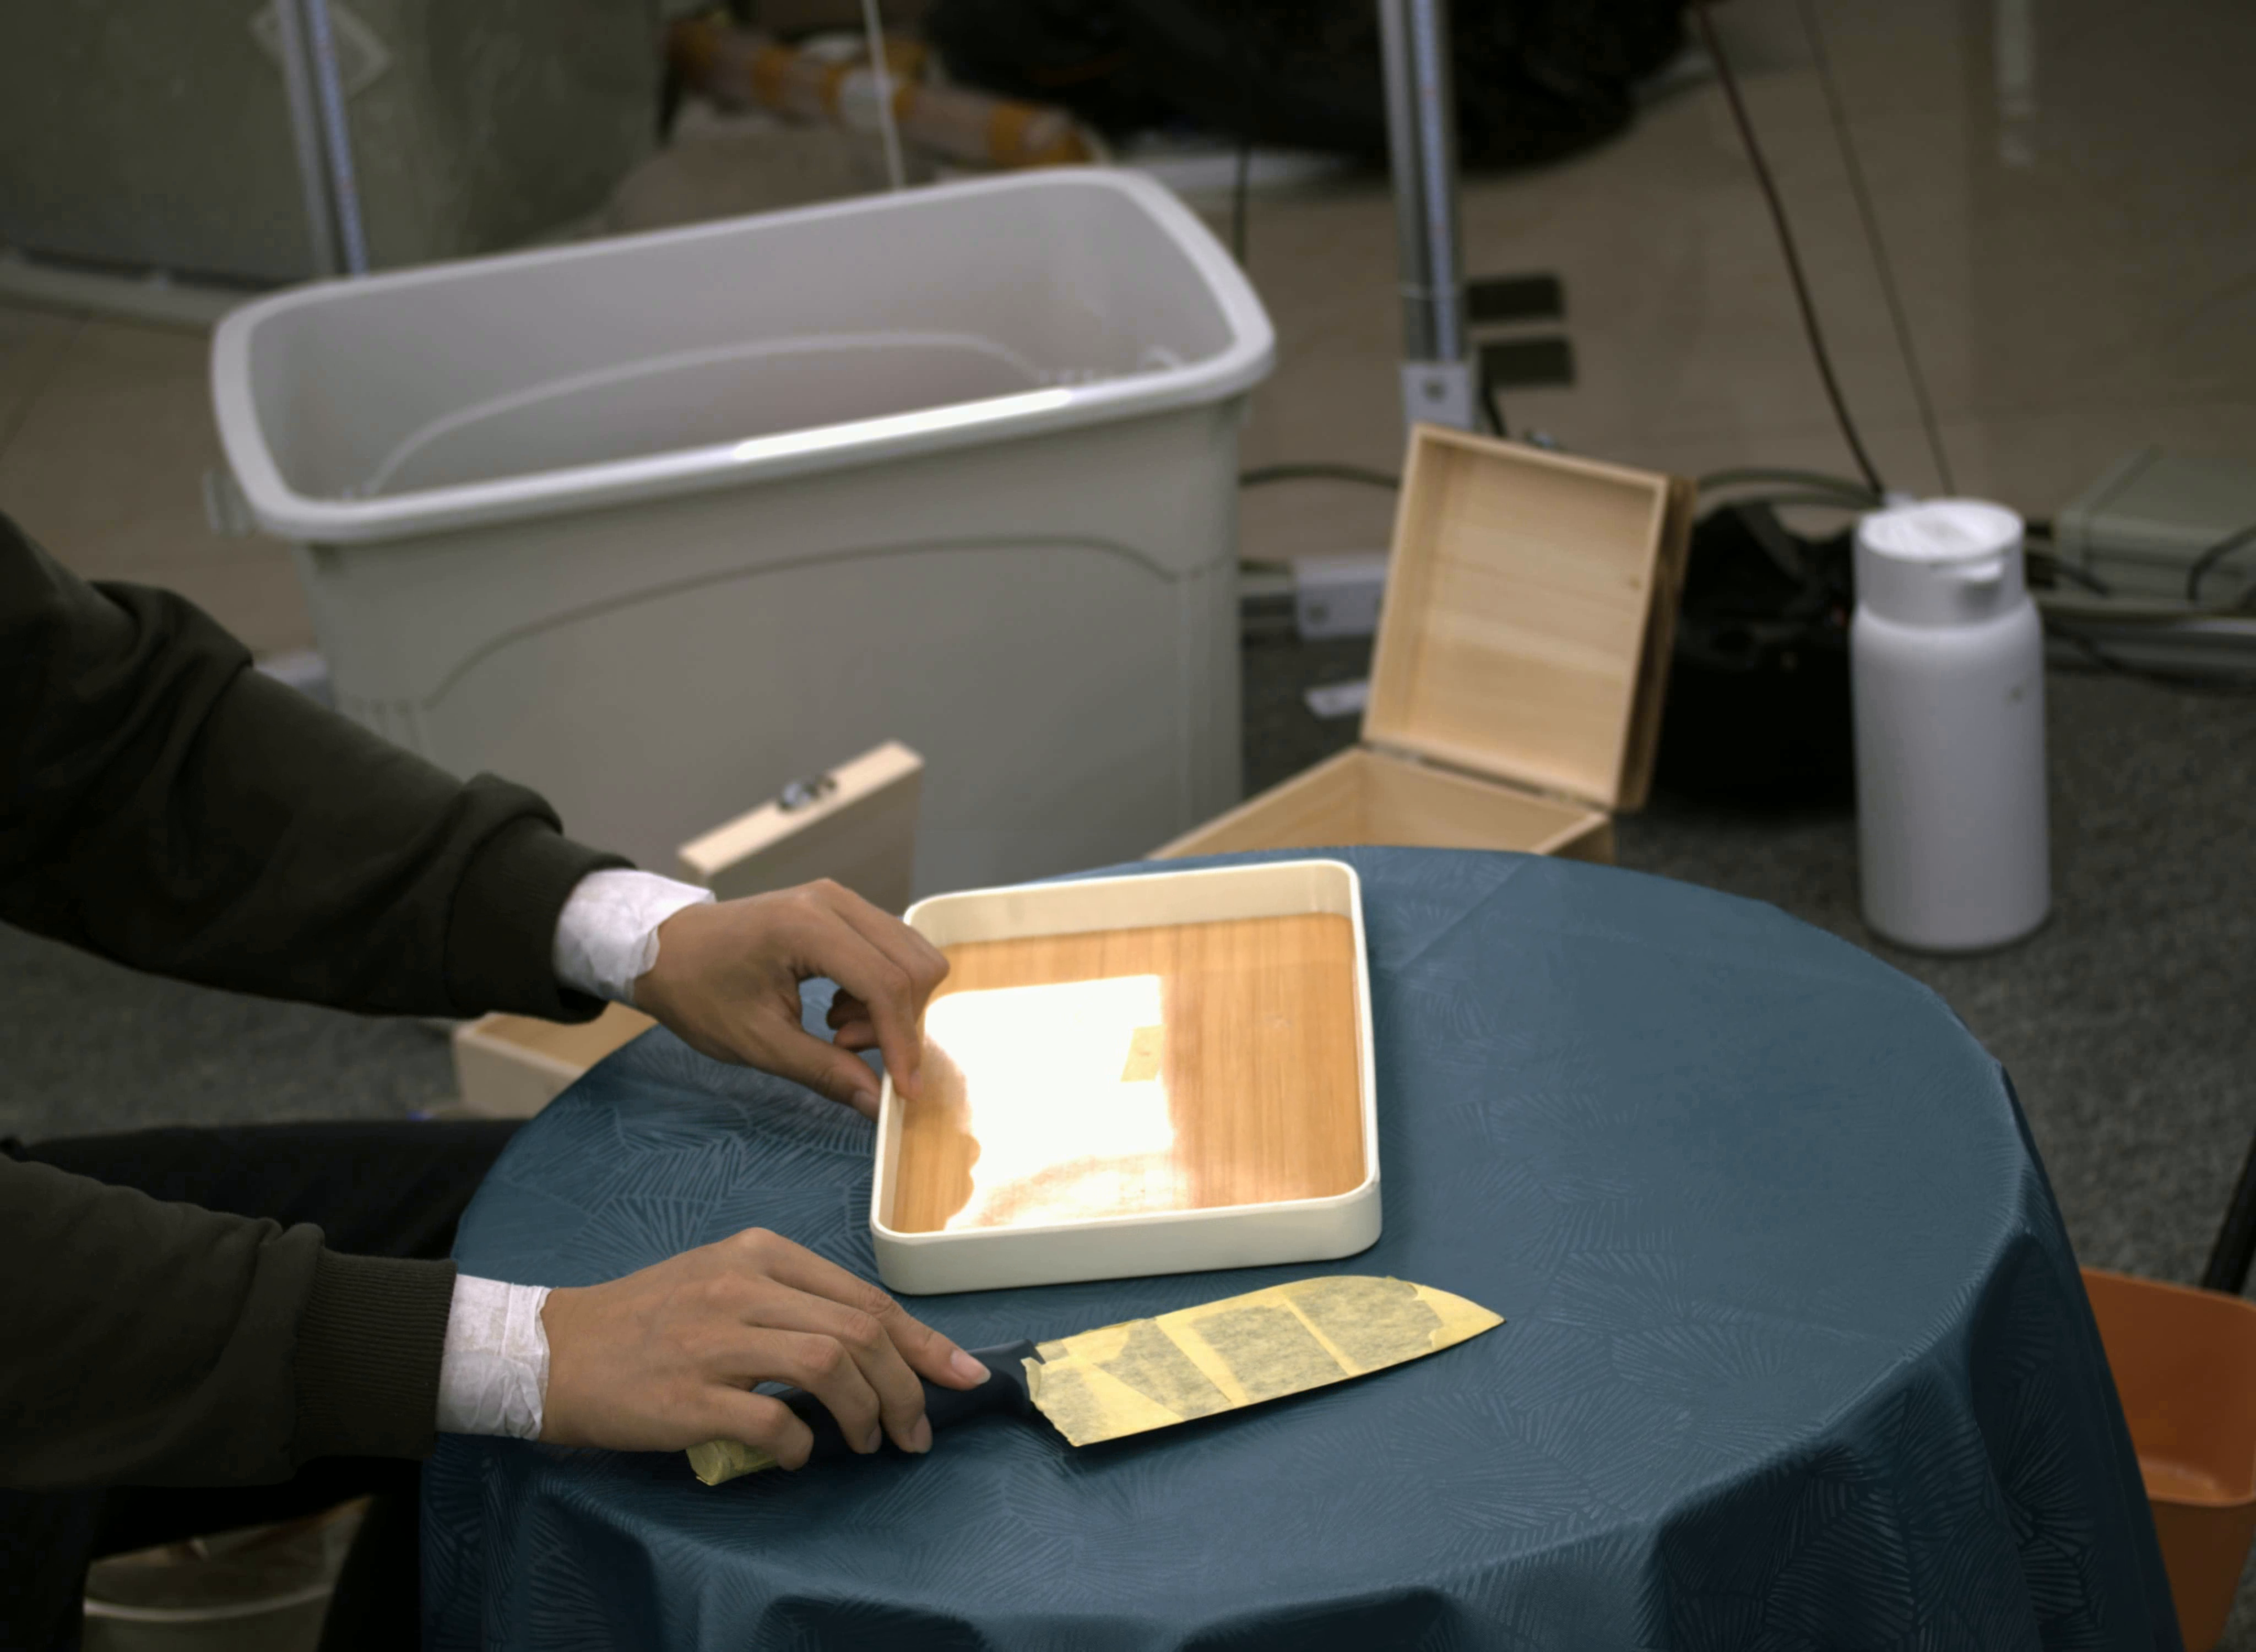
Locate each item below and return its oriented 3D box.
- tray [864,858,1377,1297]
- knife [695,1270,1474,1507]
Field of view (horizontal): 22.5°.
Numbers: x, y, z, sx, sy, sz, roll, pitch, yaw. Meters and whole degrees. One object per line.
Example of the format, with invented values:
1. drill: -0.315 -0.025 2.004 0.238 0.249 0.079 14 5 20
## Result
1. tray: -0.001 0.094 2.217 0.191 0.028 0.296 -6 24 4
2. knife: -0.011 0.199 2.008 0.288 0.027 0.080 -13 24 -16
